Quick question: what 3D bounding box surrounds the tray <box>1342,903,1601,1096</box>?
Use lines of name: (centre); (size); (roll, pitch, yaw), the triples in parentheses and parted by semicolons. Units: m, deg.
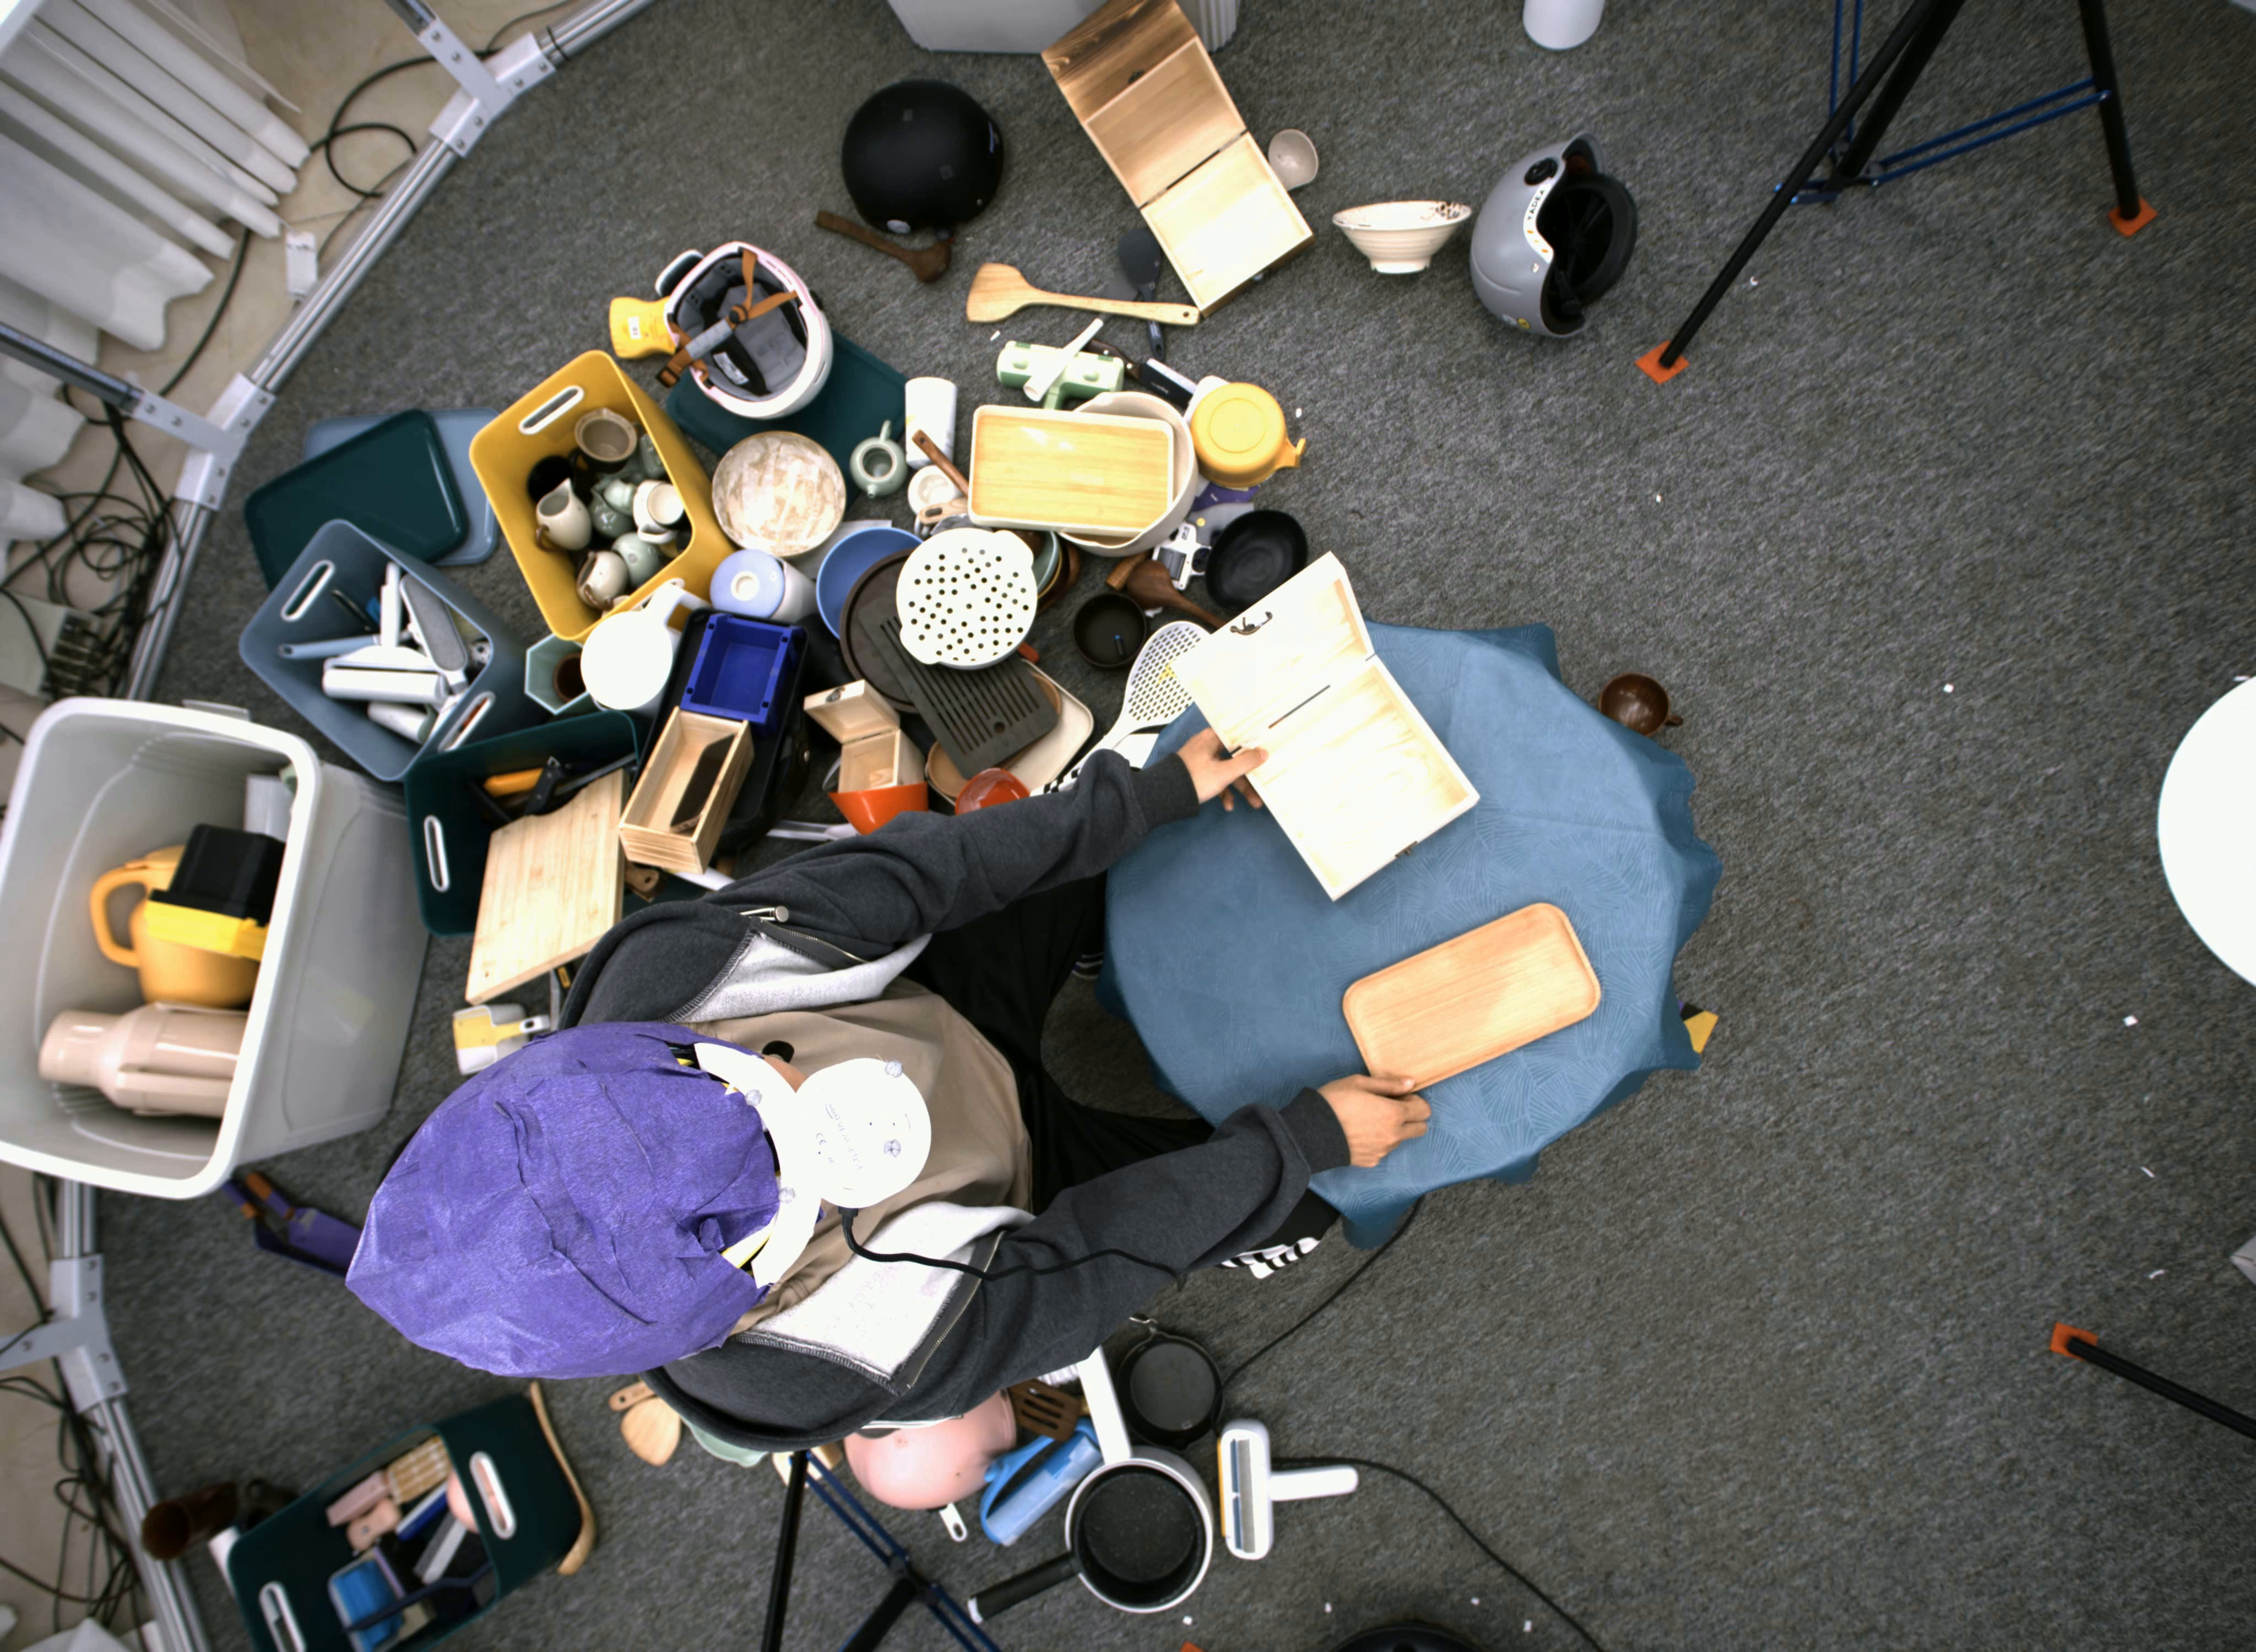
tray: (0.354, 0.178, 1.428); (0.252, 0.023, 0.129); (-24, 79, 8)

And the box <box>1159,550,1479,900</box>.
box: (0.199, -0.085, 1.357); (0.183, 0.253, 0.263); (-36, 79, 8)
